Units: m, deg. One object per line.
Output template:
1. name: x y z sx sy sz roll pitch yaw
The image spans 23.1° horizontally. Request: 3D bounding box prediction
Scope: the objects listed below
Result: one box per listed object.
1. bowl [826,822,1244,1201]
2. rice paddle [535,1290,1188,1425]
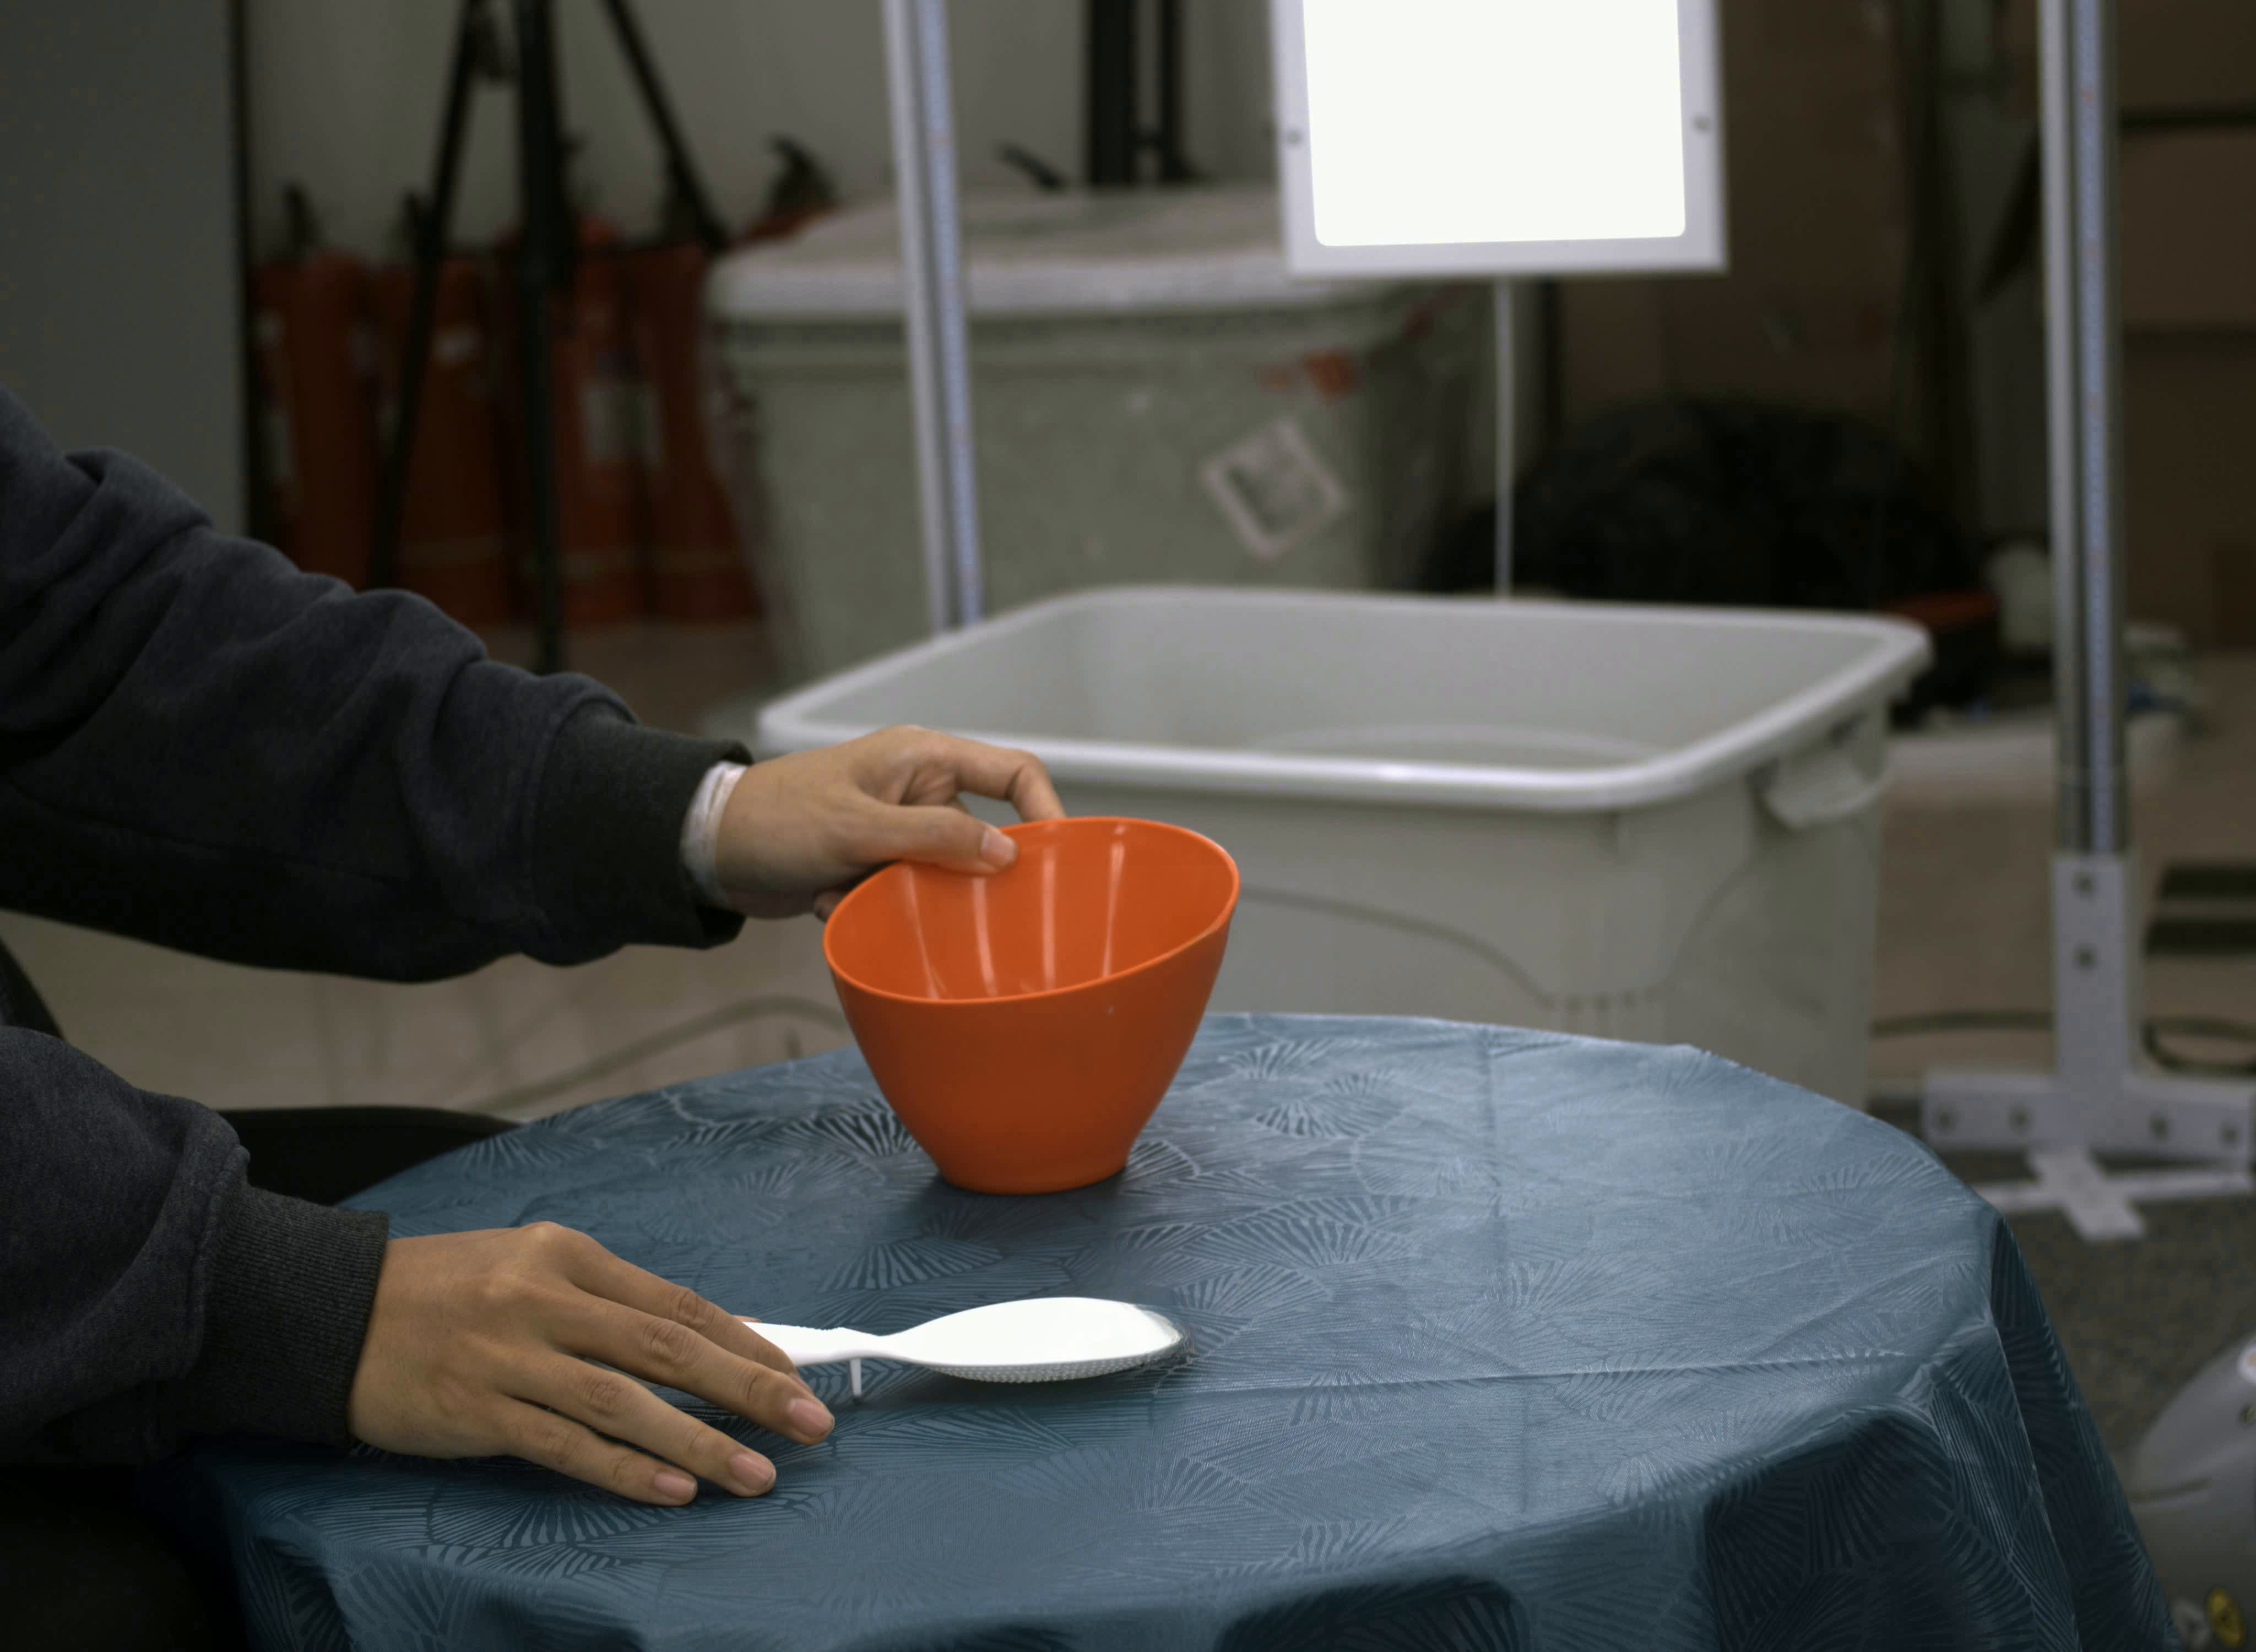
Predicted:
1. bowl: -0.030 0.069 1.931 0.147 0.105 0.148 -4 16 0
2. rice paddle: -0.081 0.160 1.711 0.203 0.029 0.069 -5 13 -9
